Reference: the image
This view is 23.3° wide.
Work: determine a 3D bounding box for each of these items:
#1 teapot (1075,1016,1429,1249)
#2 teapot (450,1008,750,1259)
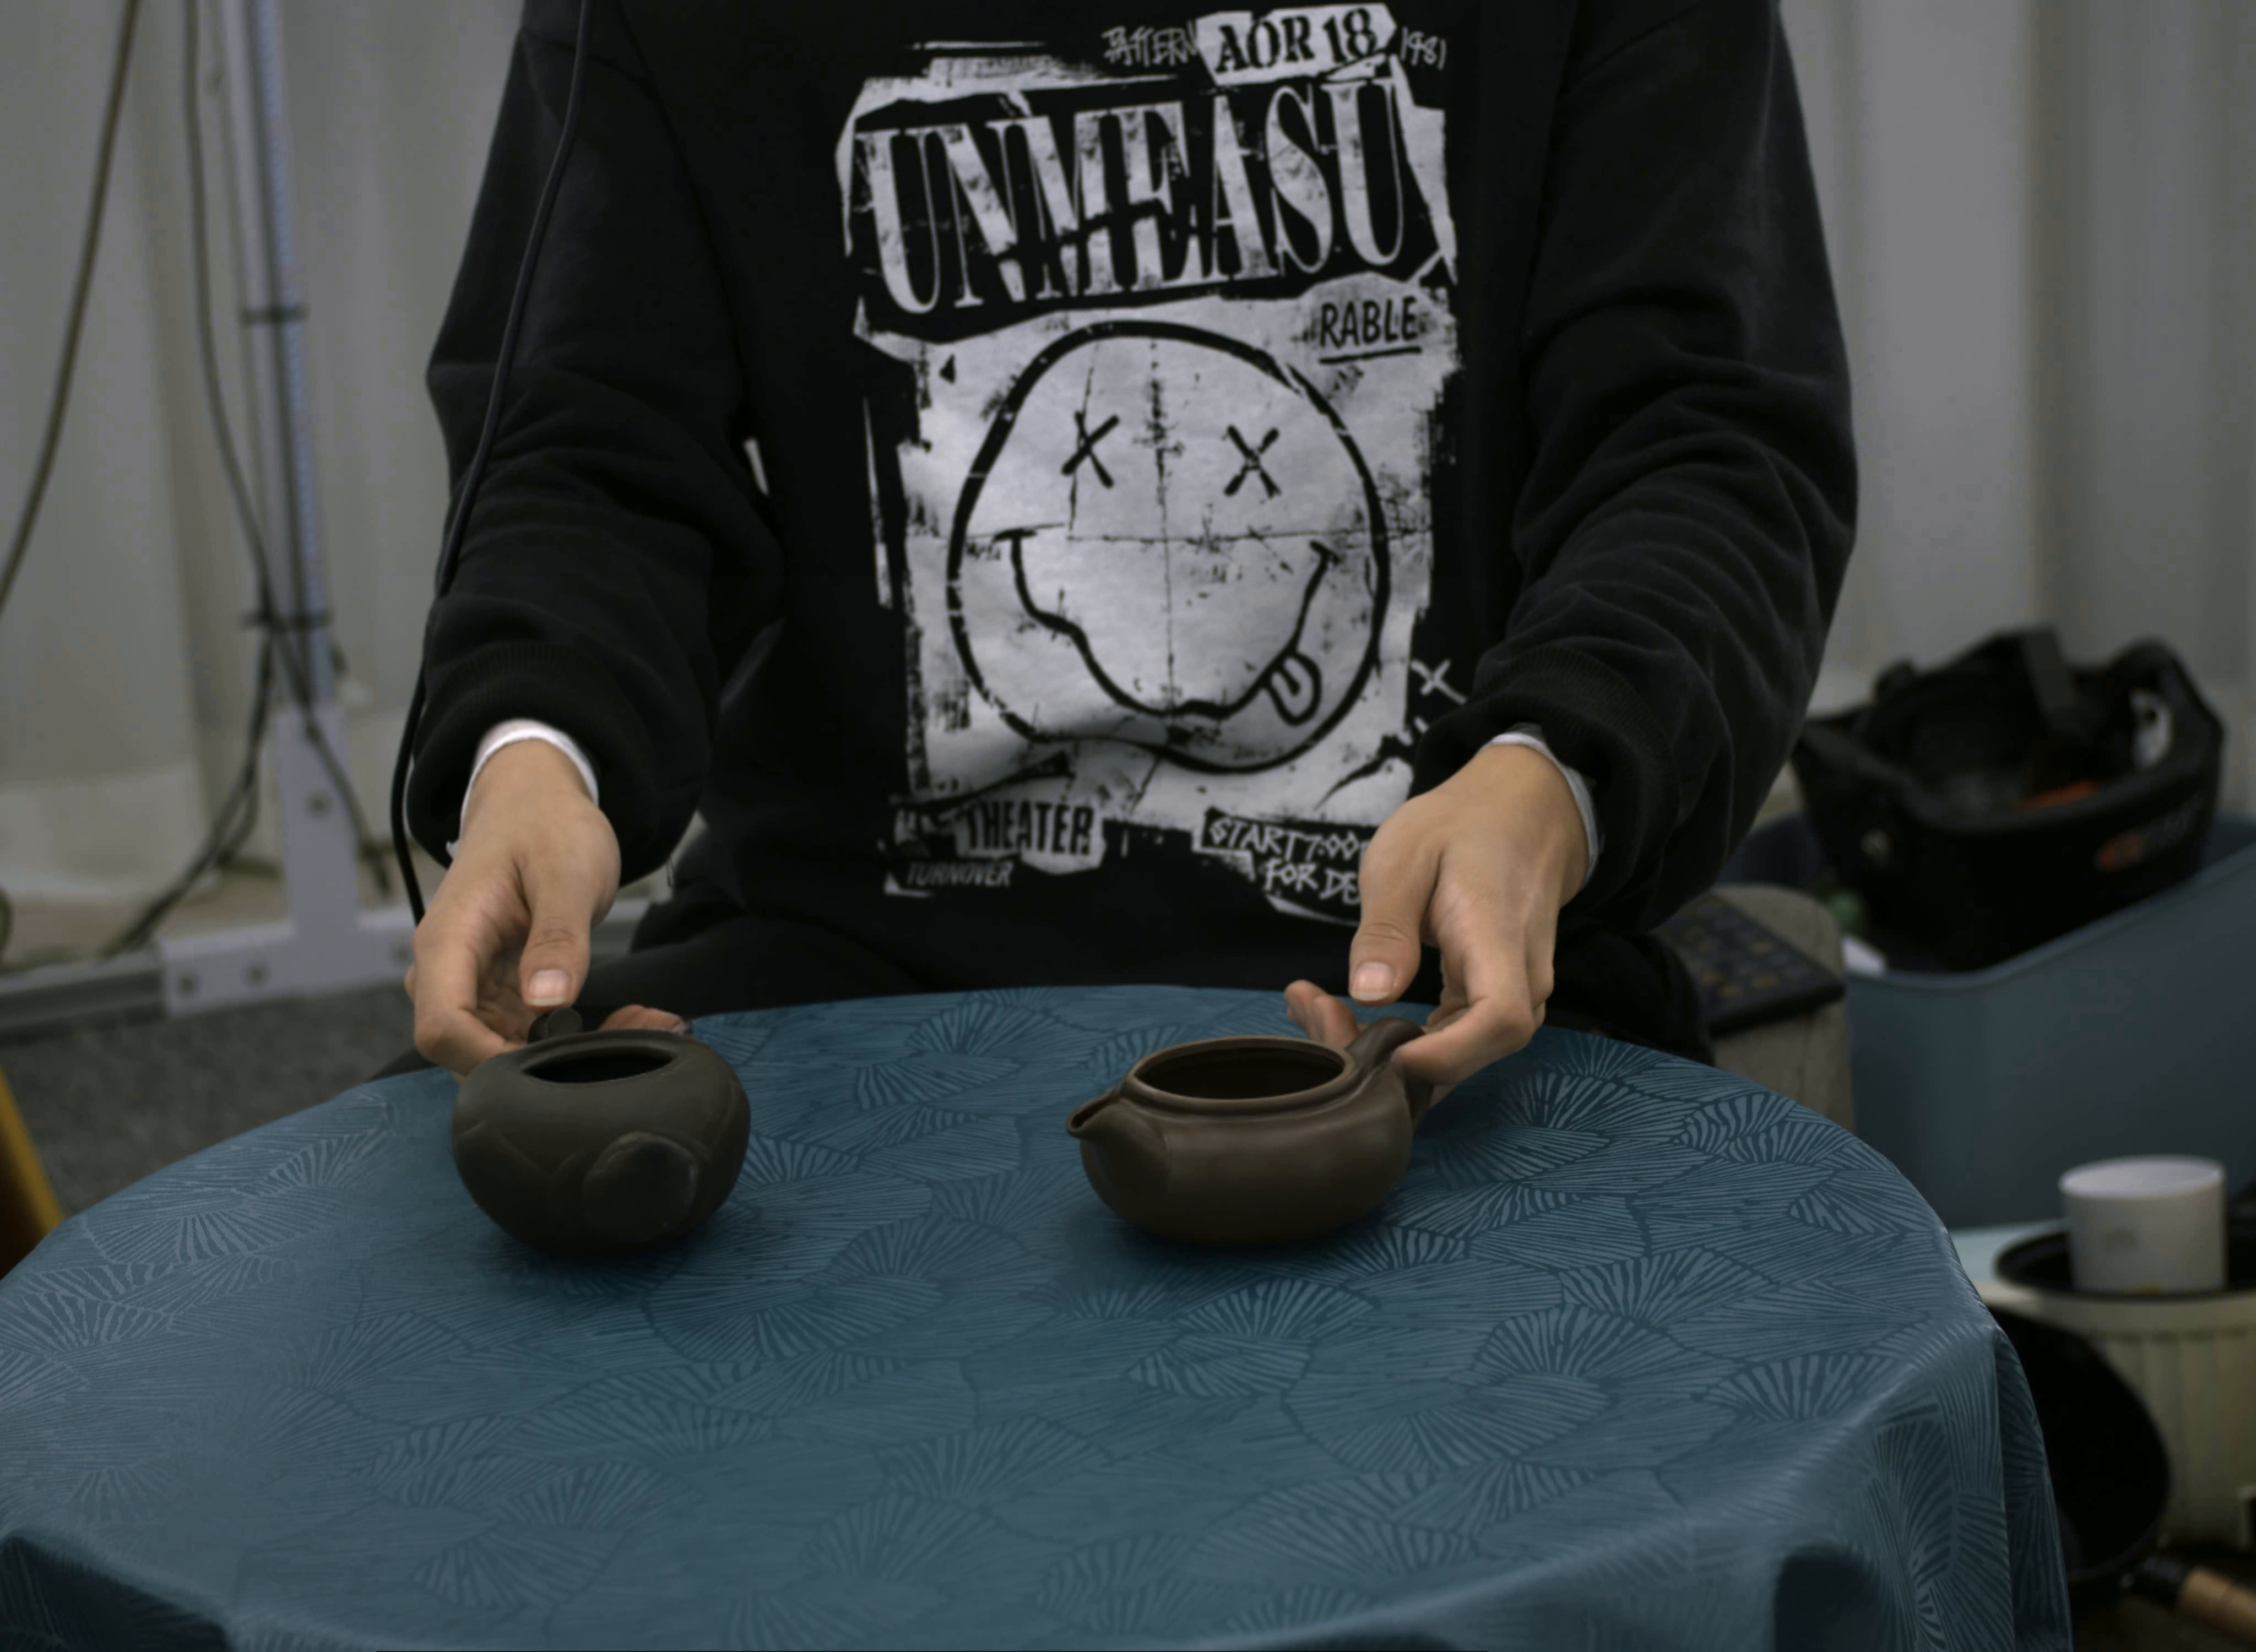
[{"bbox_3d":[0.039,0.094,1.680,0.103,0.053,0.153,12,21,39],"label":"teapot"},{"bbox_3d":[-0.164,0.096,1.694,0.092,0.064,0.155,-5,15,-18],"label":"teapot"}]
